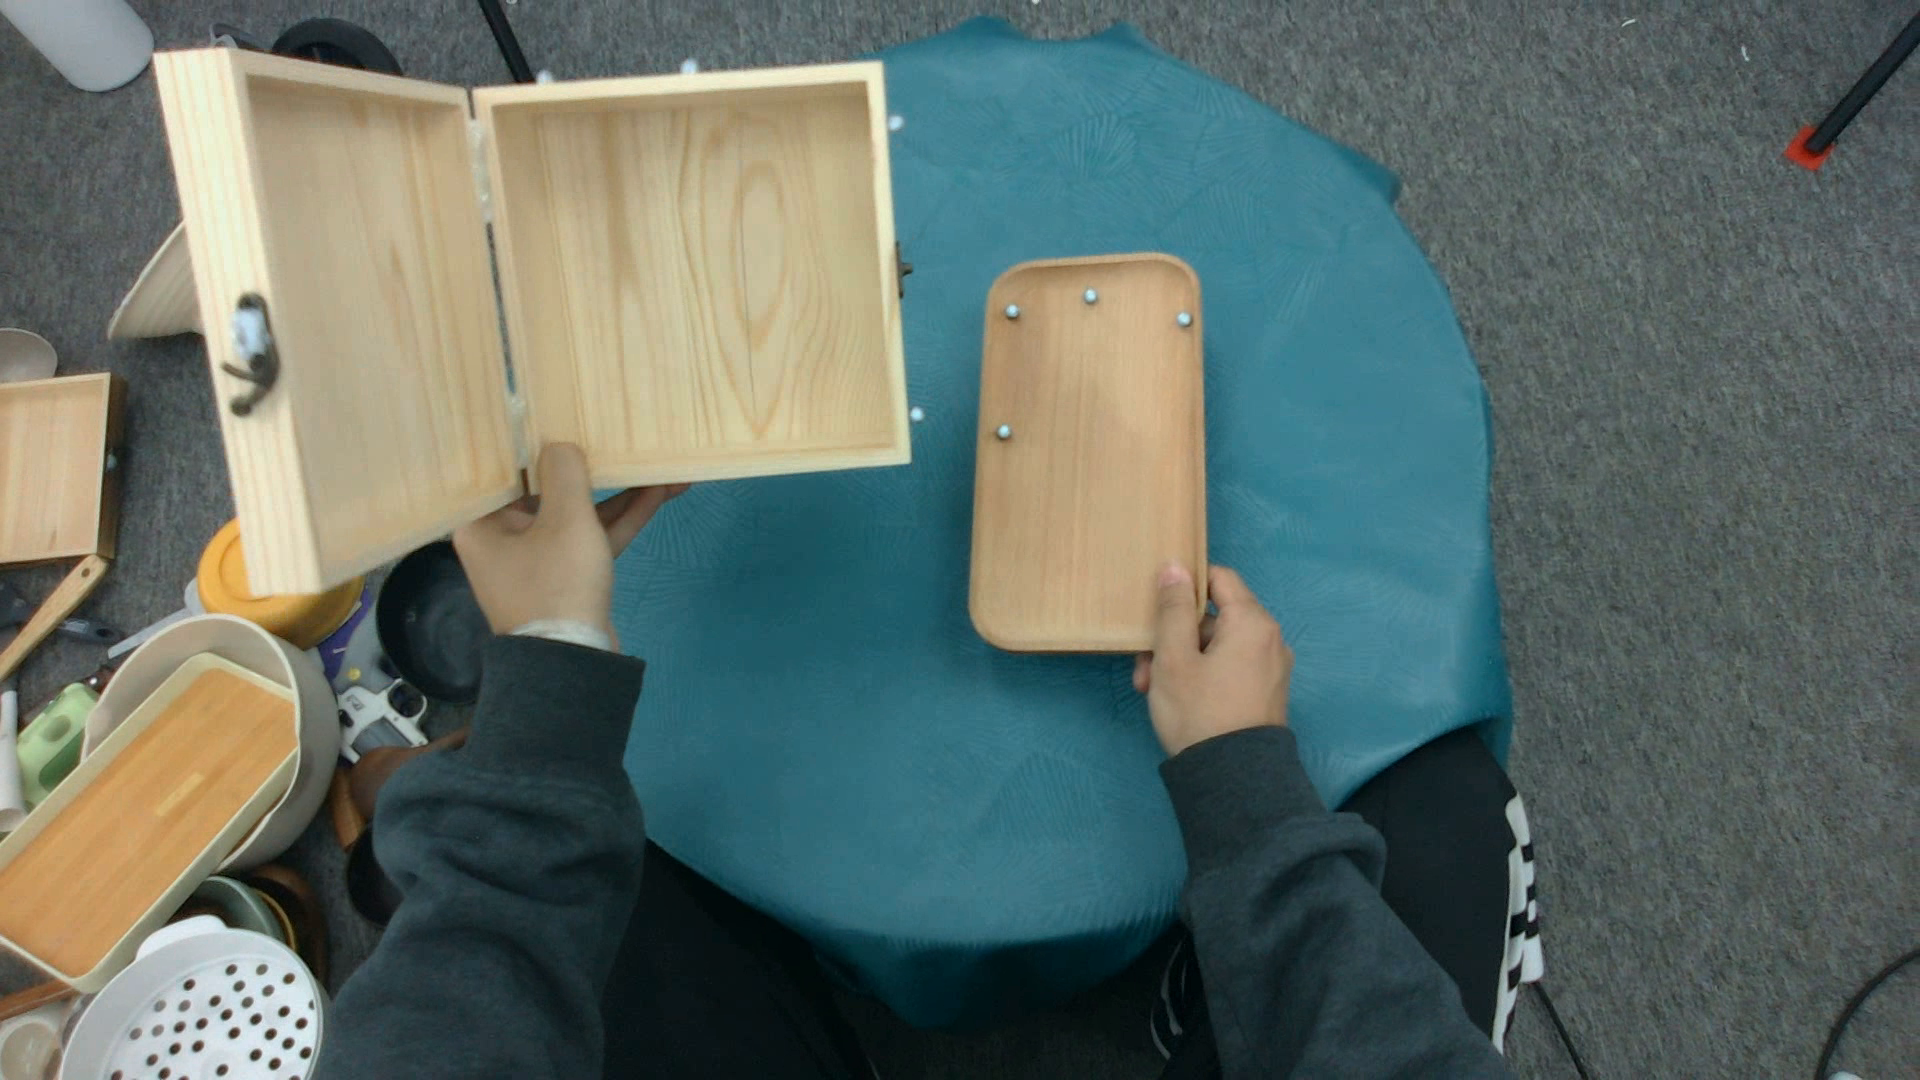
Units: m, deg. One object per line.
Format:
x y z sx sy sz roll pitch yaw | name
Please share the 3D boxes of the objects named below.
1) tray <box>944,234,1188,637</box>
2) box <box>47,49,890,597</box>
0.061 -0.063 0.769 0.130 0.023 0.251 -2 65 13 | tray
-0.163 -0.109 0.585 0.265 0.254 0.181 -6 105 -1 | box
